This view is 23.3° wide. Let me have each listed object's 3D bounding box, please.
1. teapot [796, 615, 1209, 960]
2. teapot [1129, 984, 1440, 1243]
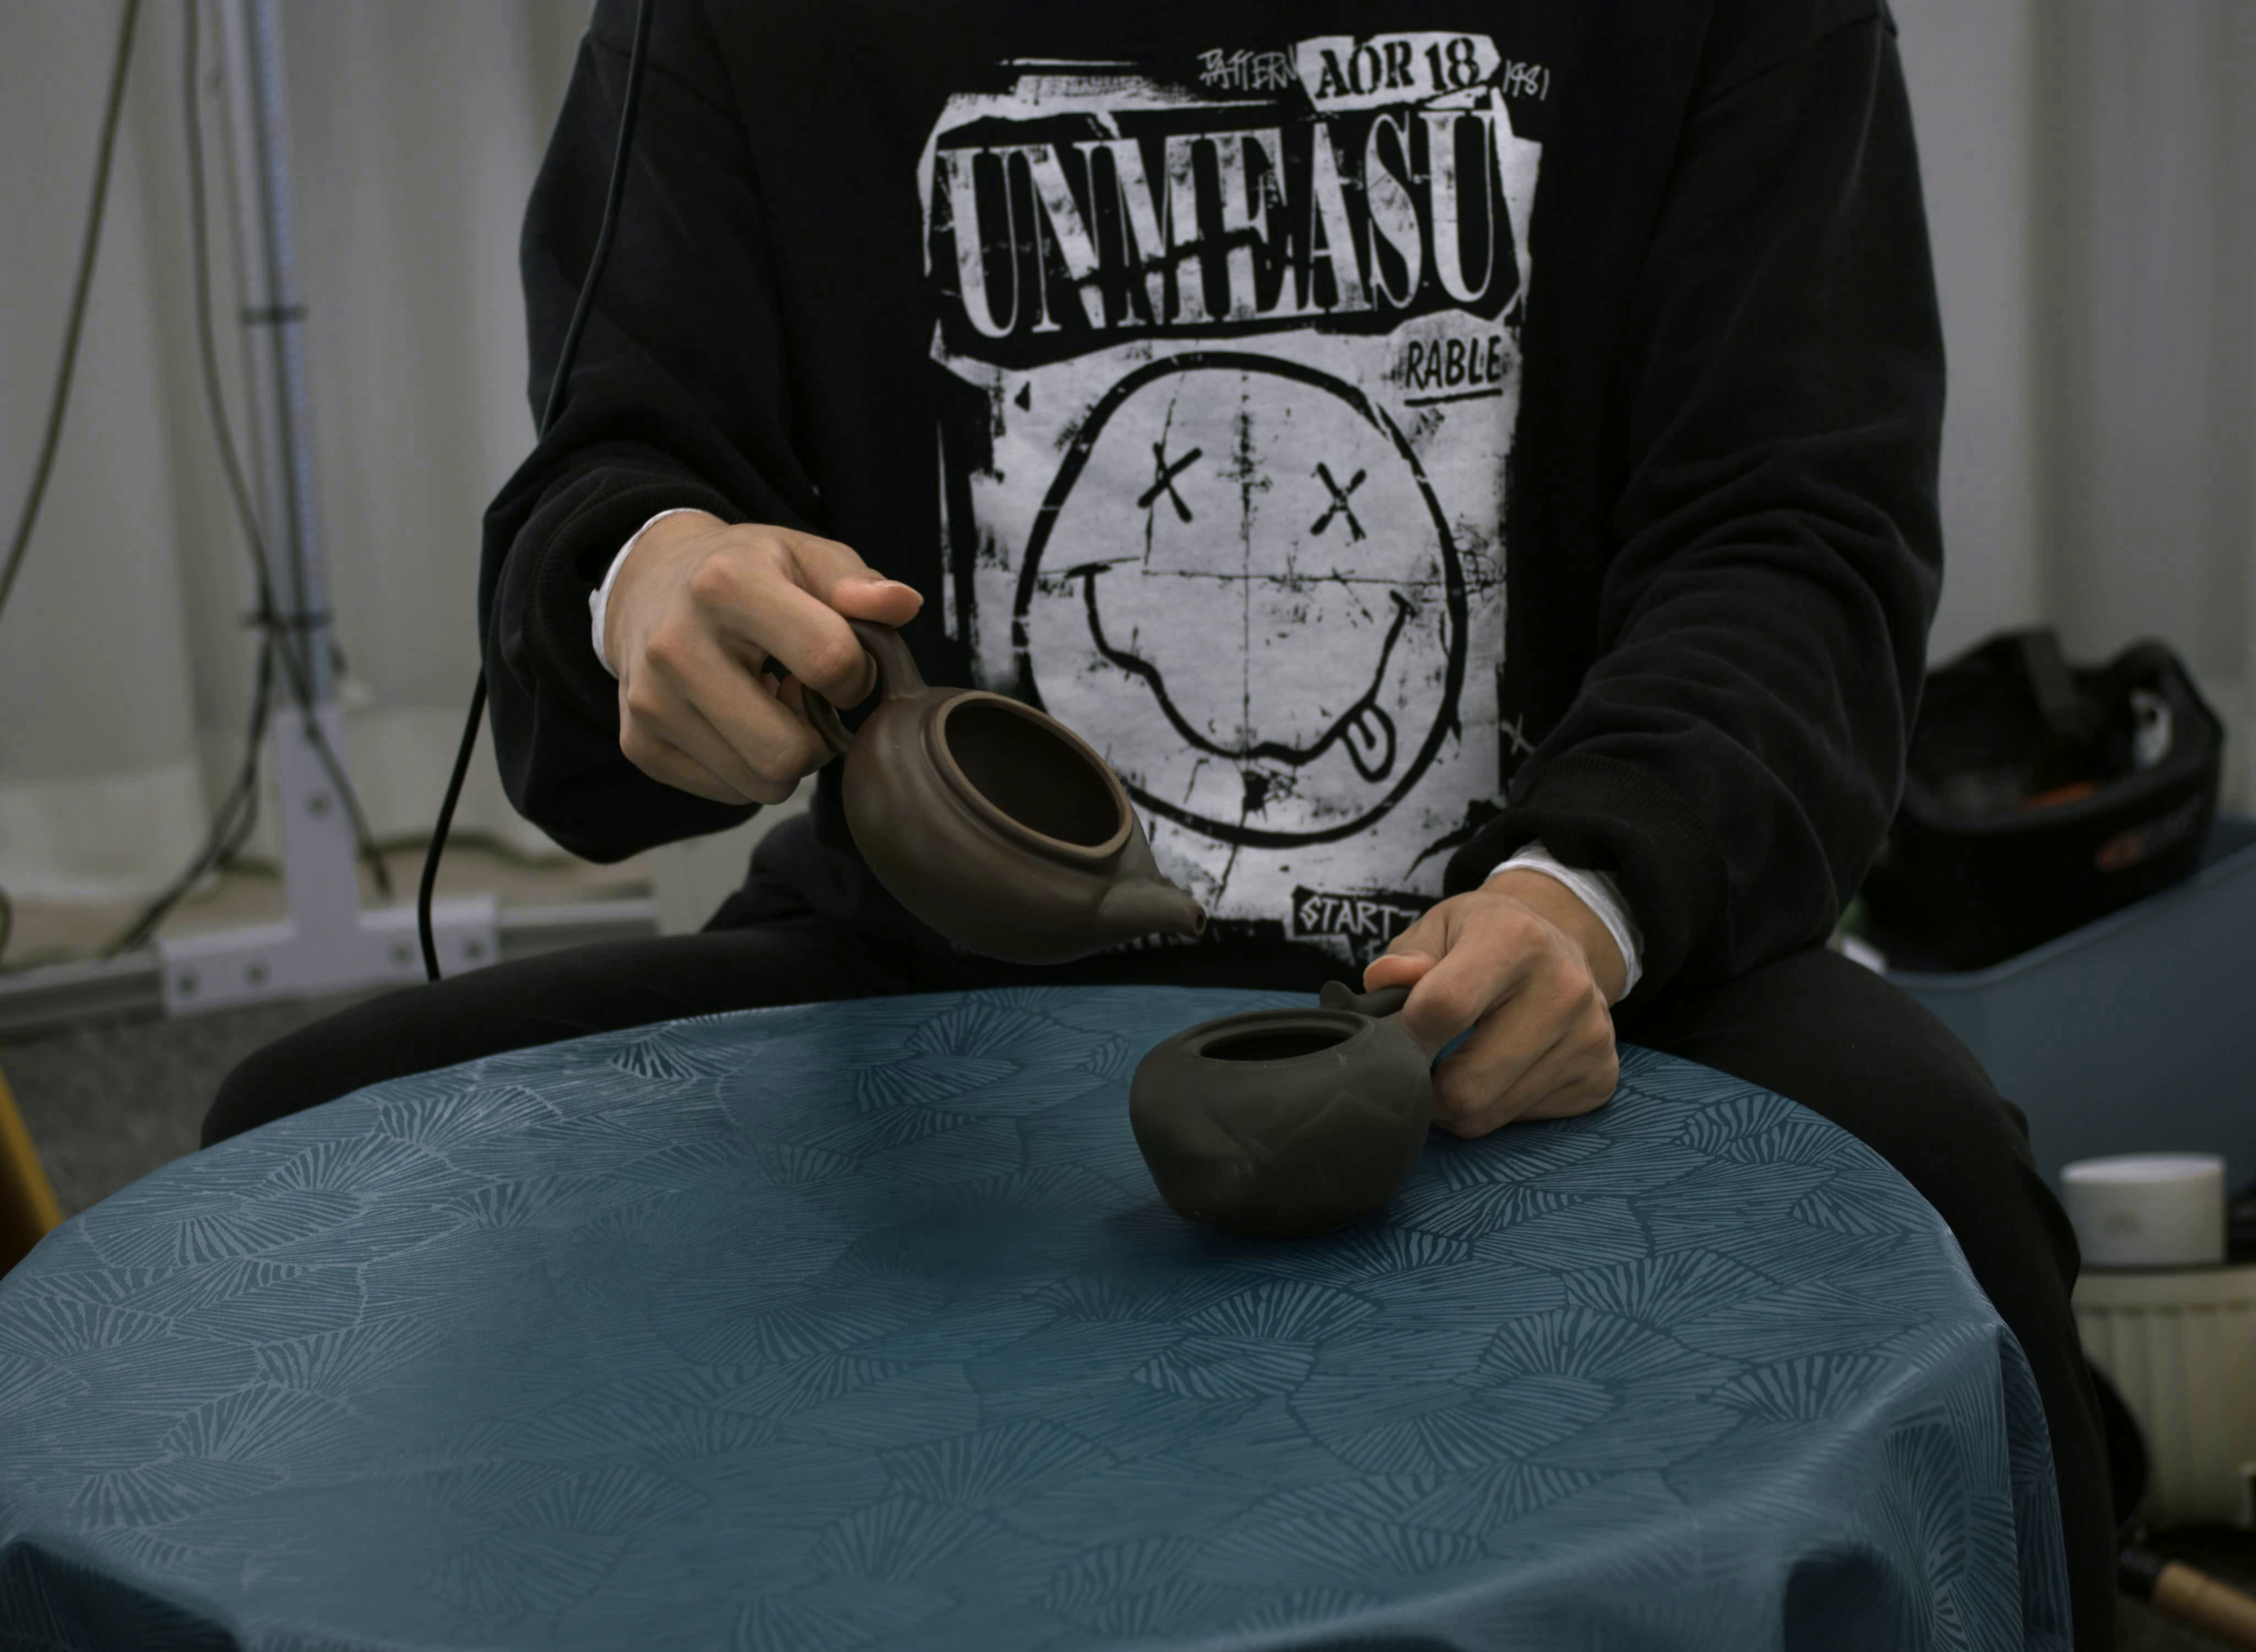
[{"bbox_3d":[-0.043,-0.006,1.680,0.154,0.053,0.103,41,27,9],"label":"teapot"},{"bbox_3d":[0.049,0.089,1.676,0.093,0.064,0.154,7,20,37],"label":"teapot"}]
